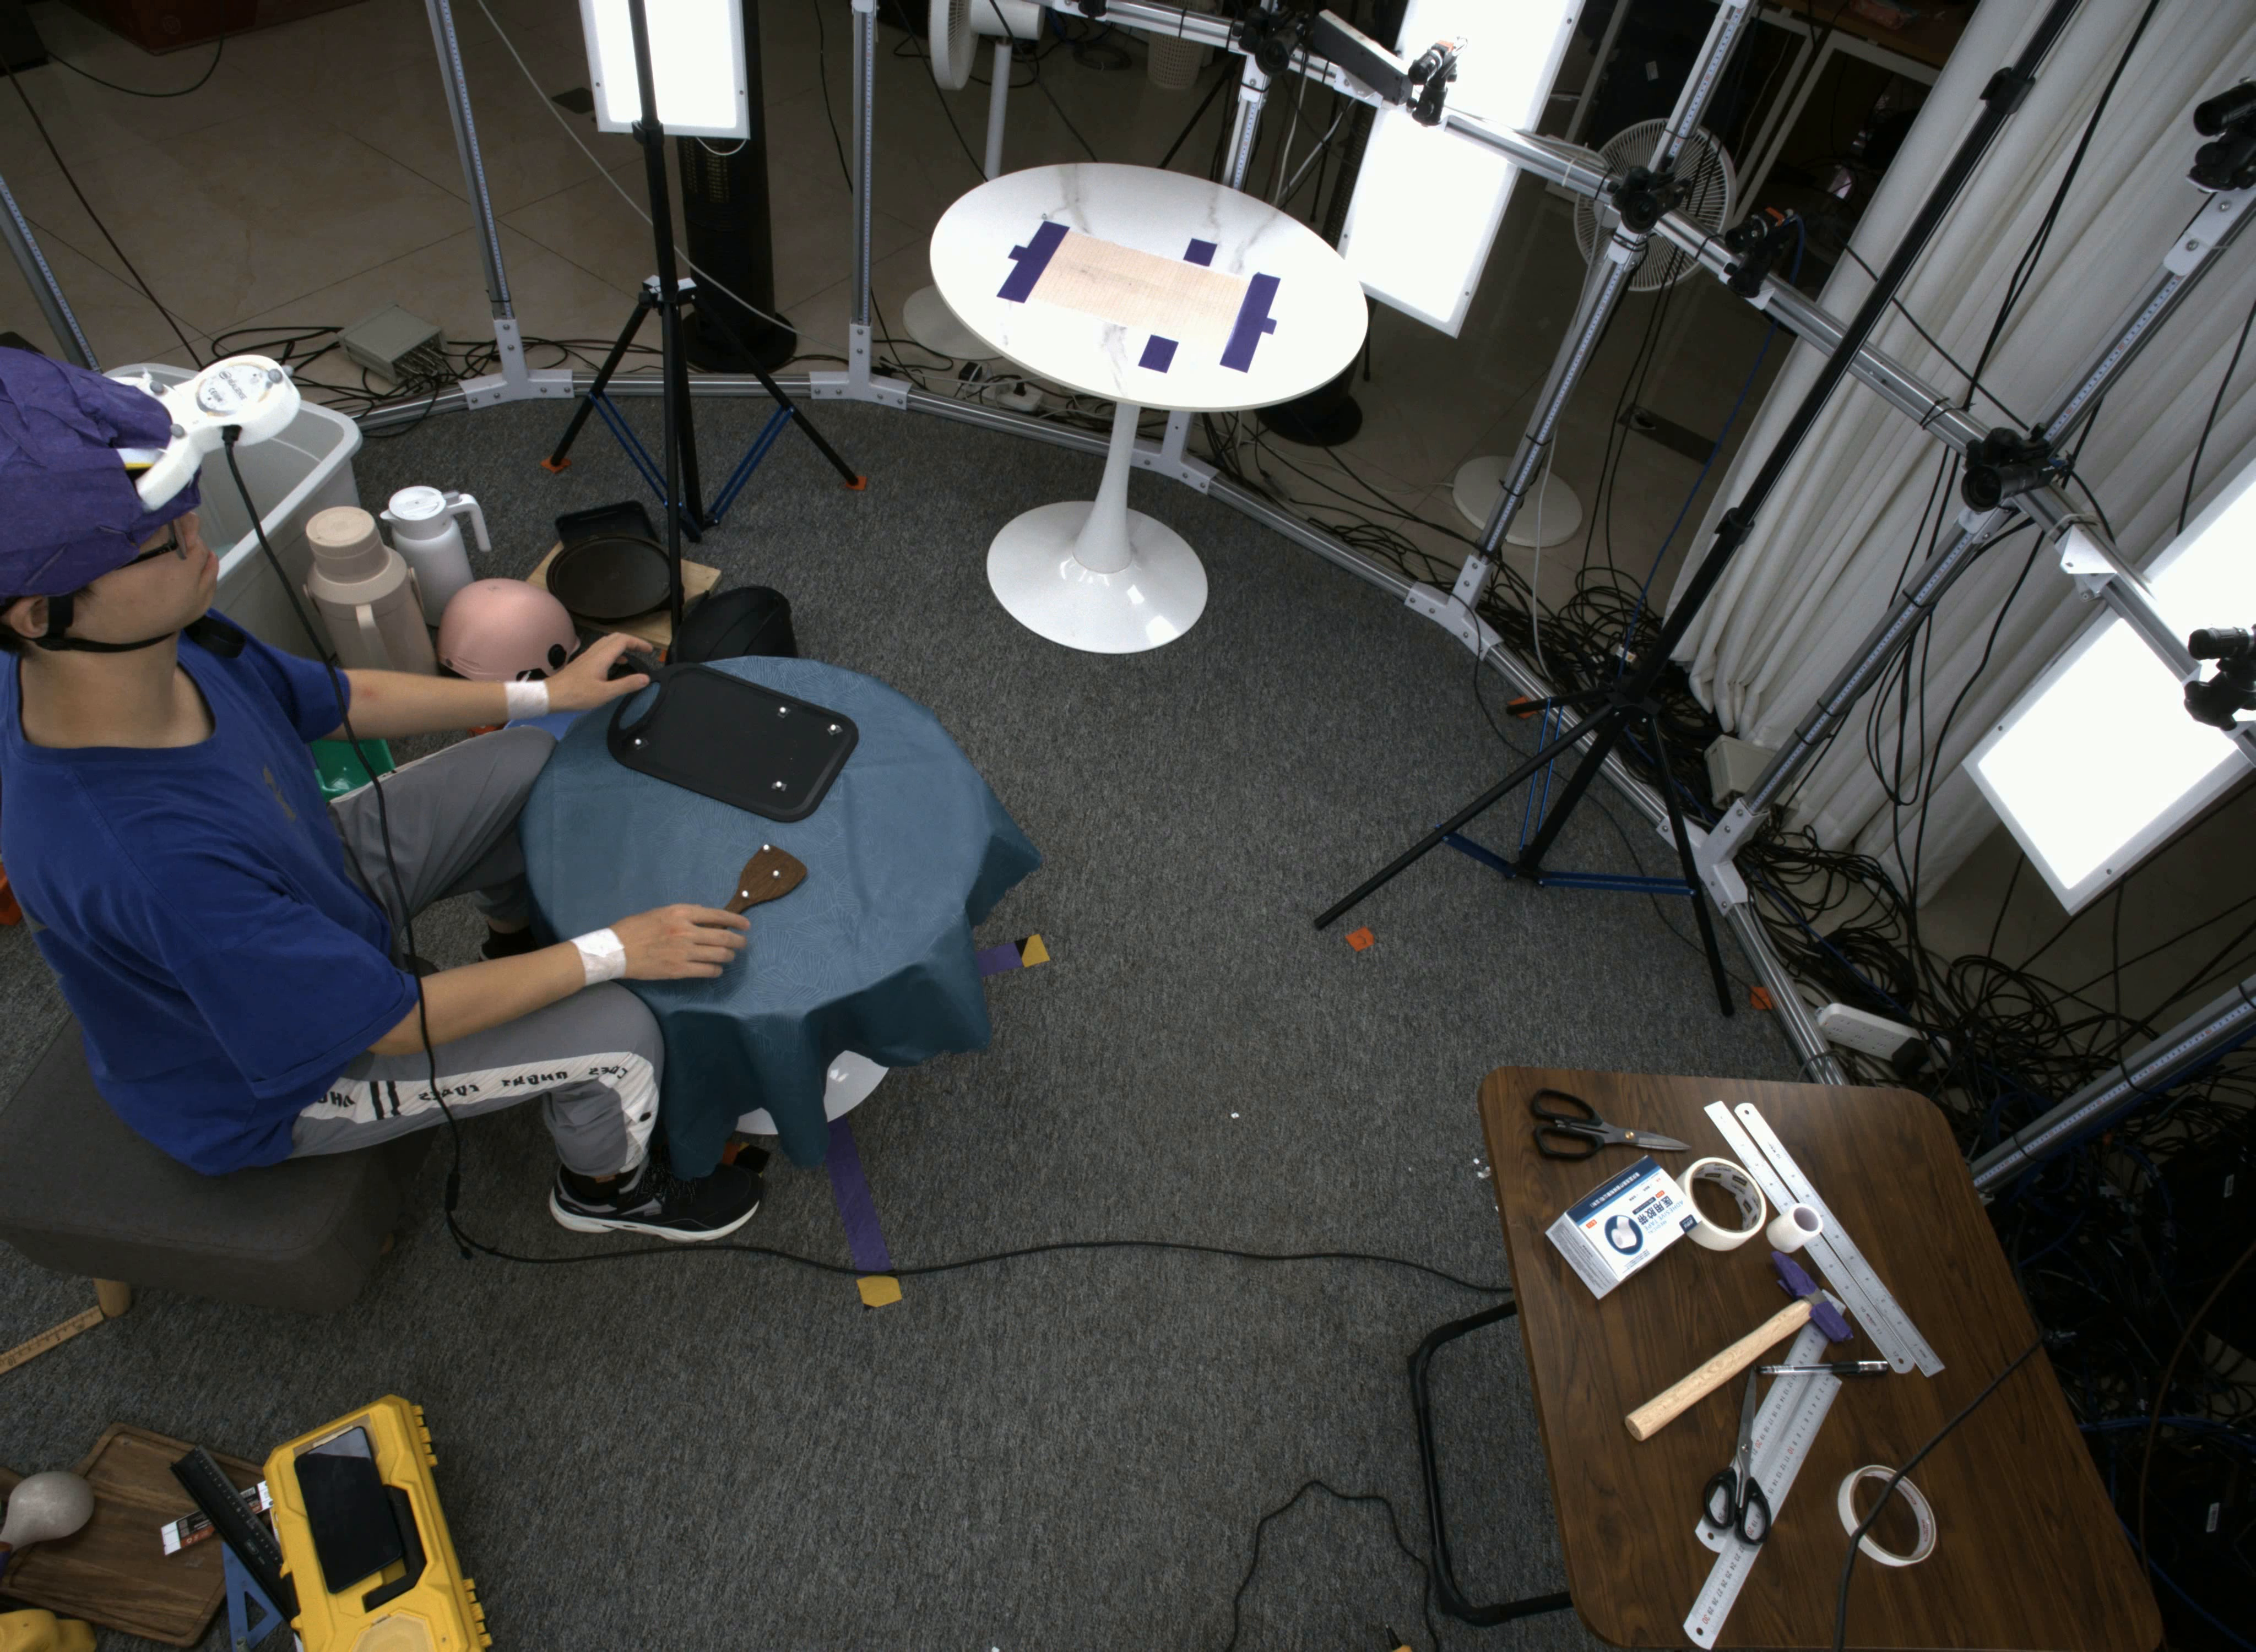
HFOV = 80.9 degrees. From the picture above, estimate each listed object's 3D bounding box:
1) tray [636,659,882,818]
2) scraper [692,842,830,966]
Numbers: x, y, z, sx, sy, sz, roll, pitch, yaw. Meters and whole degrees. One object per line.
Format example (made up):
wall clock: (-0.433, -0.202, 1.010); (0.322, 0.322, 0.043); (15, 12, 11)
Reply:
tray: (-0.522, -0.130, 1.802); (0.322, 0.010, 0.209); (21, 52, 2)
scraper: (-0.471, 0.099, 1.643); (0.074, 0.011, 0.211); (33, 54, 12)
